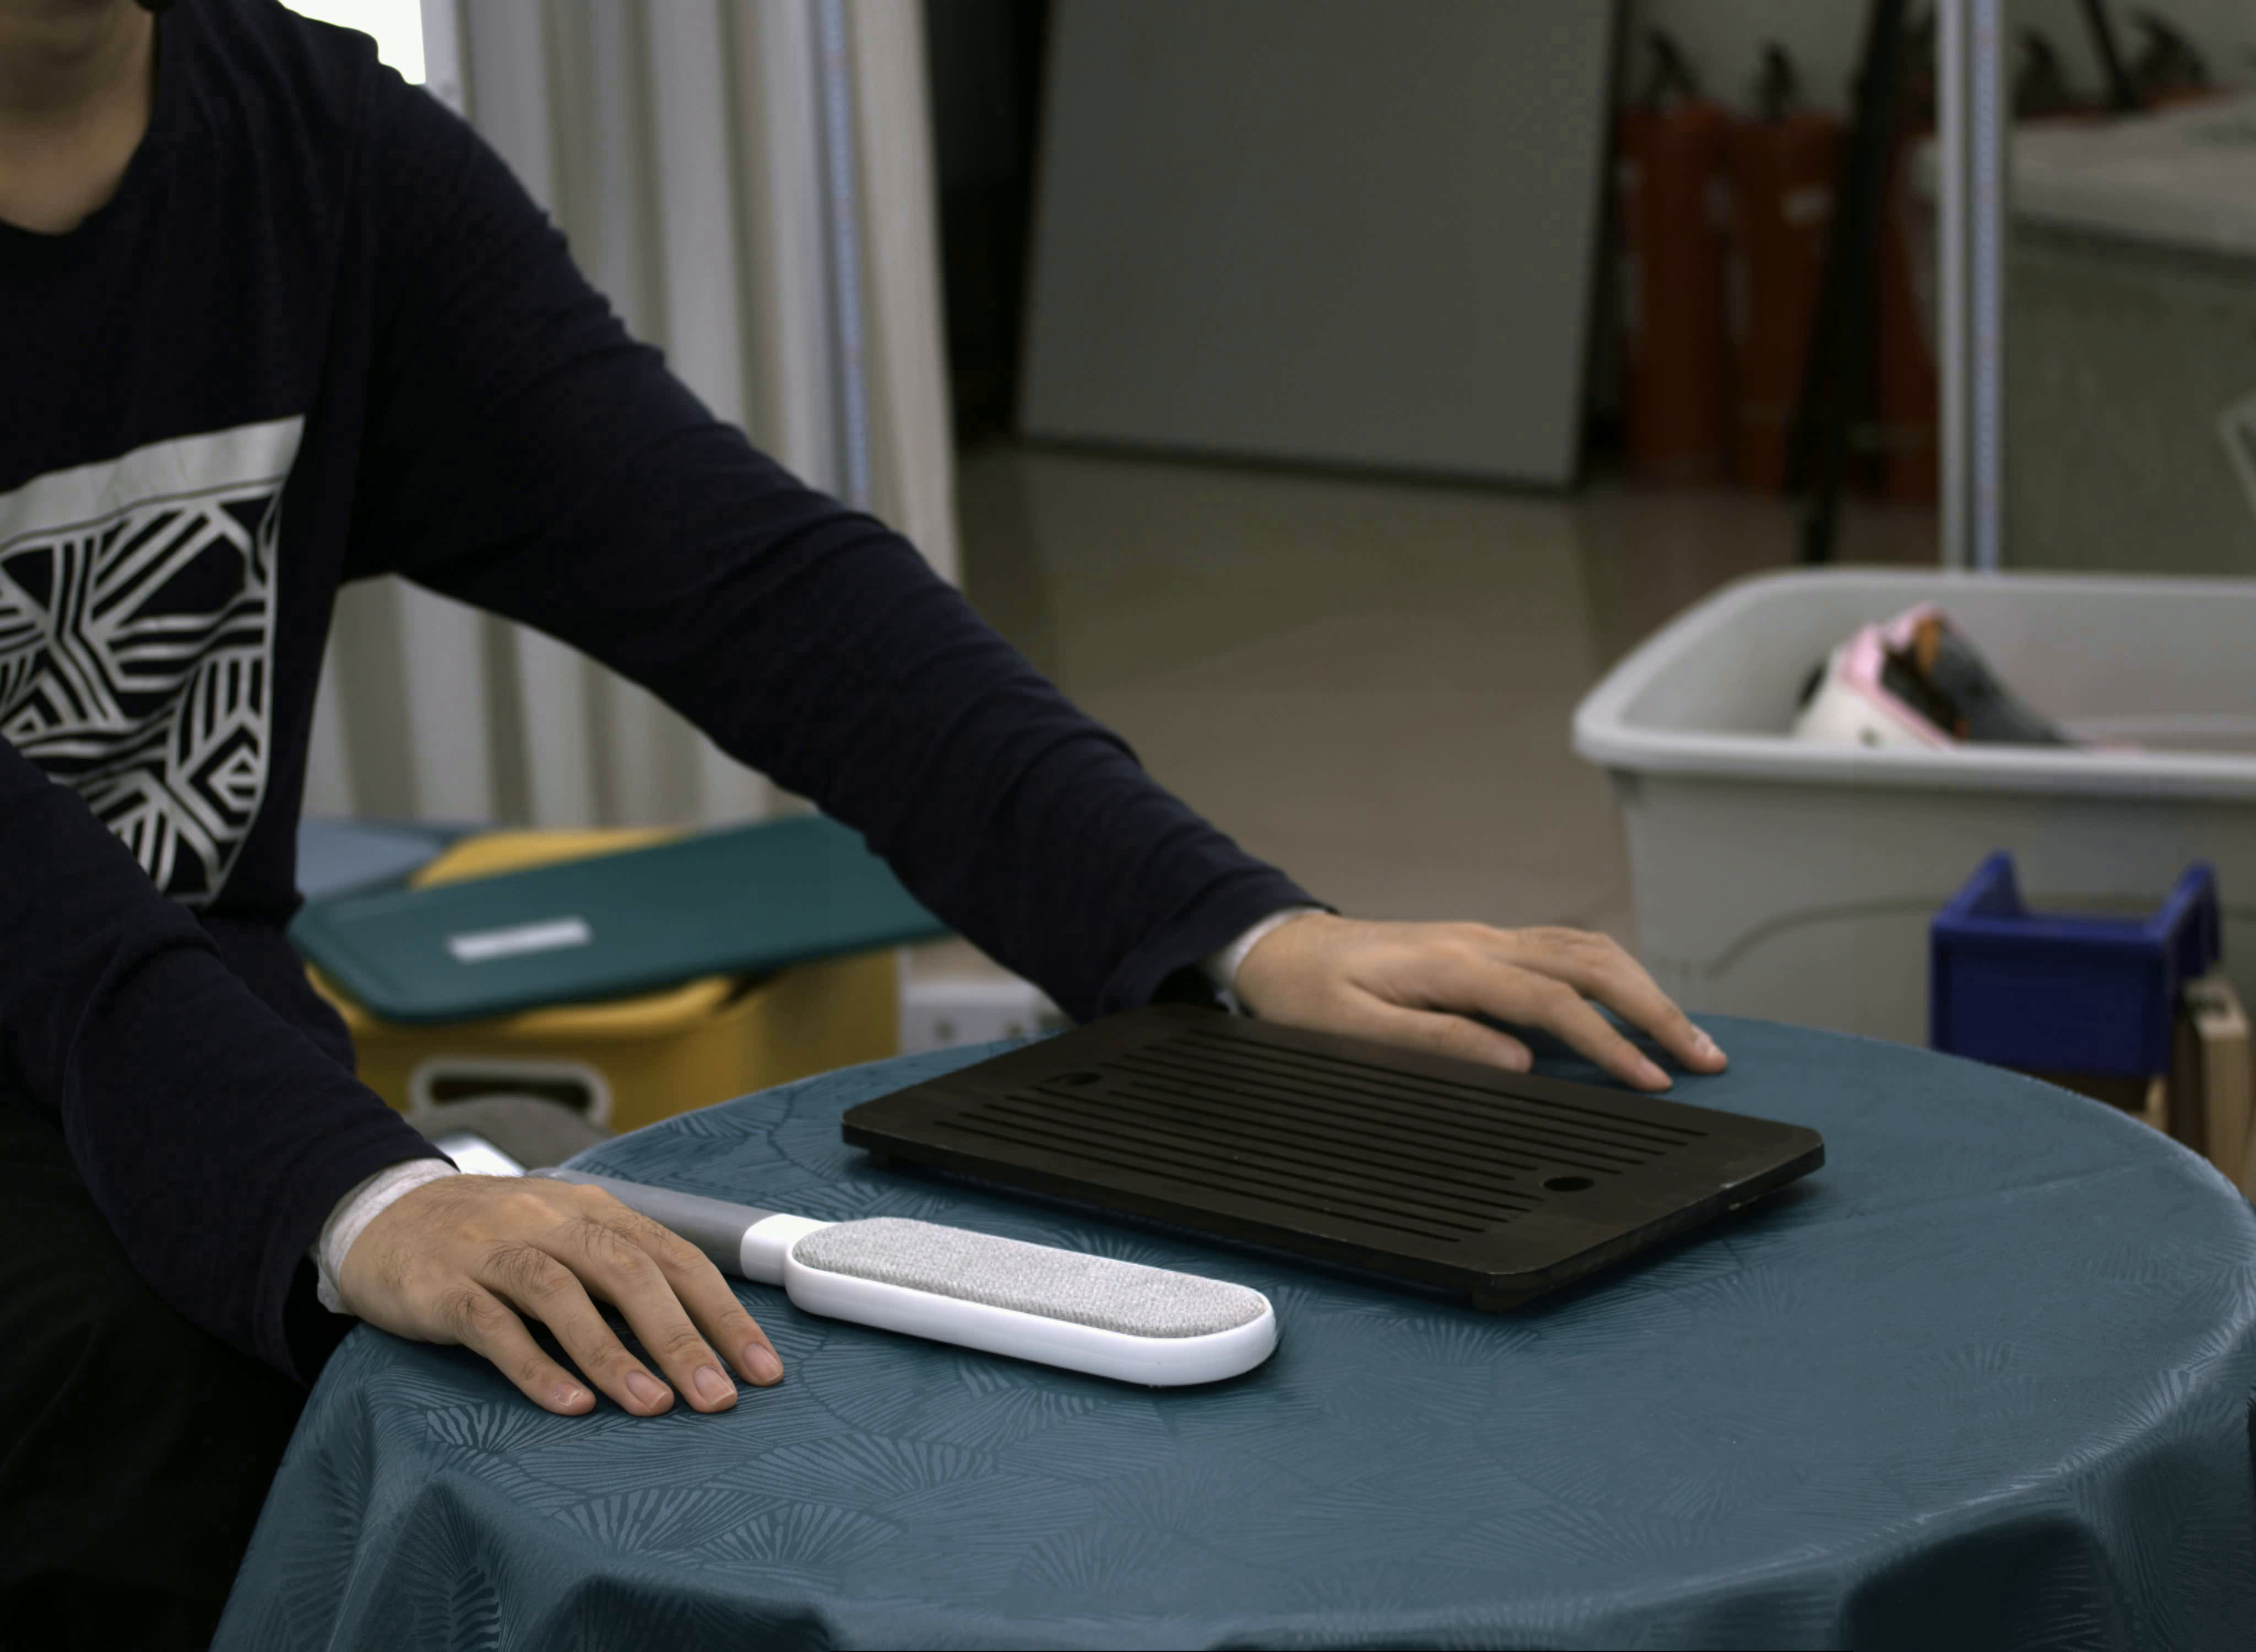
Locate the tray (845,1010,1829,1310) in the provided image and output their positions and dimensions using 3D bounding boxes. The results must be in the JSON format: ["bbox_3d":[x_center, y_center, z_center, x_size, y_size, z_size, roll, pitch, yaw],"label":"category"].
[{"bbox_3d":[0.065,0.107,1.778,0.308,0.019,0.167,8,19,43],"label":"tray"}]

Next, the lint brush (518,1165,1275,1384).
[{"bbox_3d":[-0.079,0.136,1.682,0.311,0.021,0.059,7,23,41],"label":"lint brush"}]
